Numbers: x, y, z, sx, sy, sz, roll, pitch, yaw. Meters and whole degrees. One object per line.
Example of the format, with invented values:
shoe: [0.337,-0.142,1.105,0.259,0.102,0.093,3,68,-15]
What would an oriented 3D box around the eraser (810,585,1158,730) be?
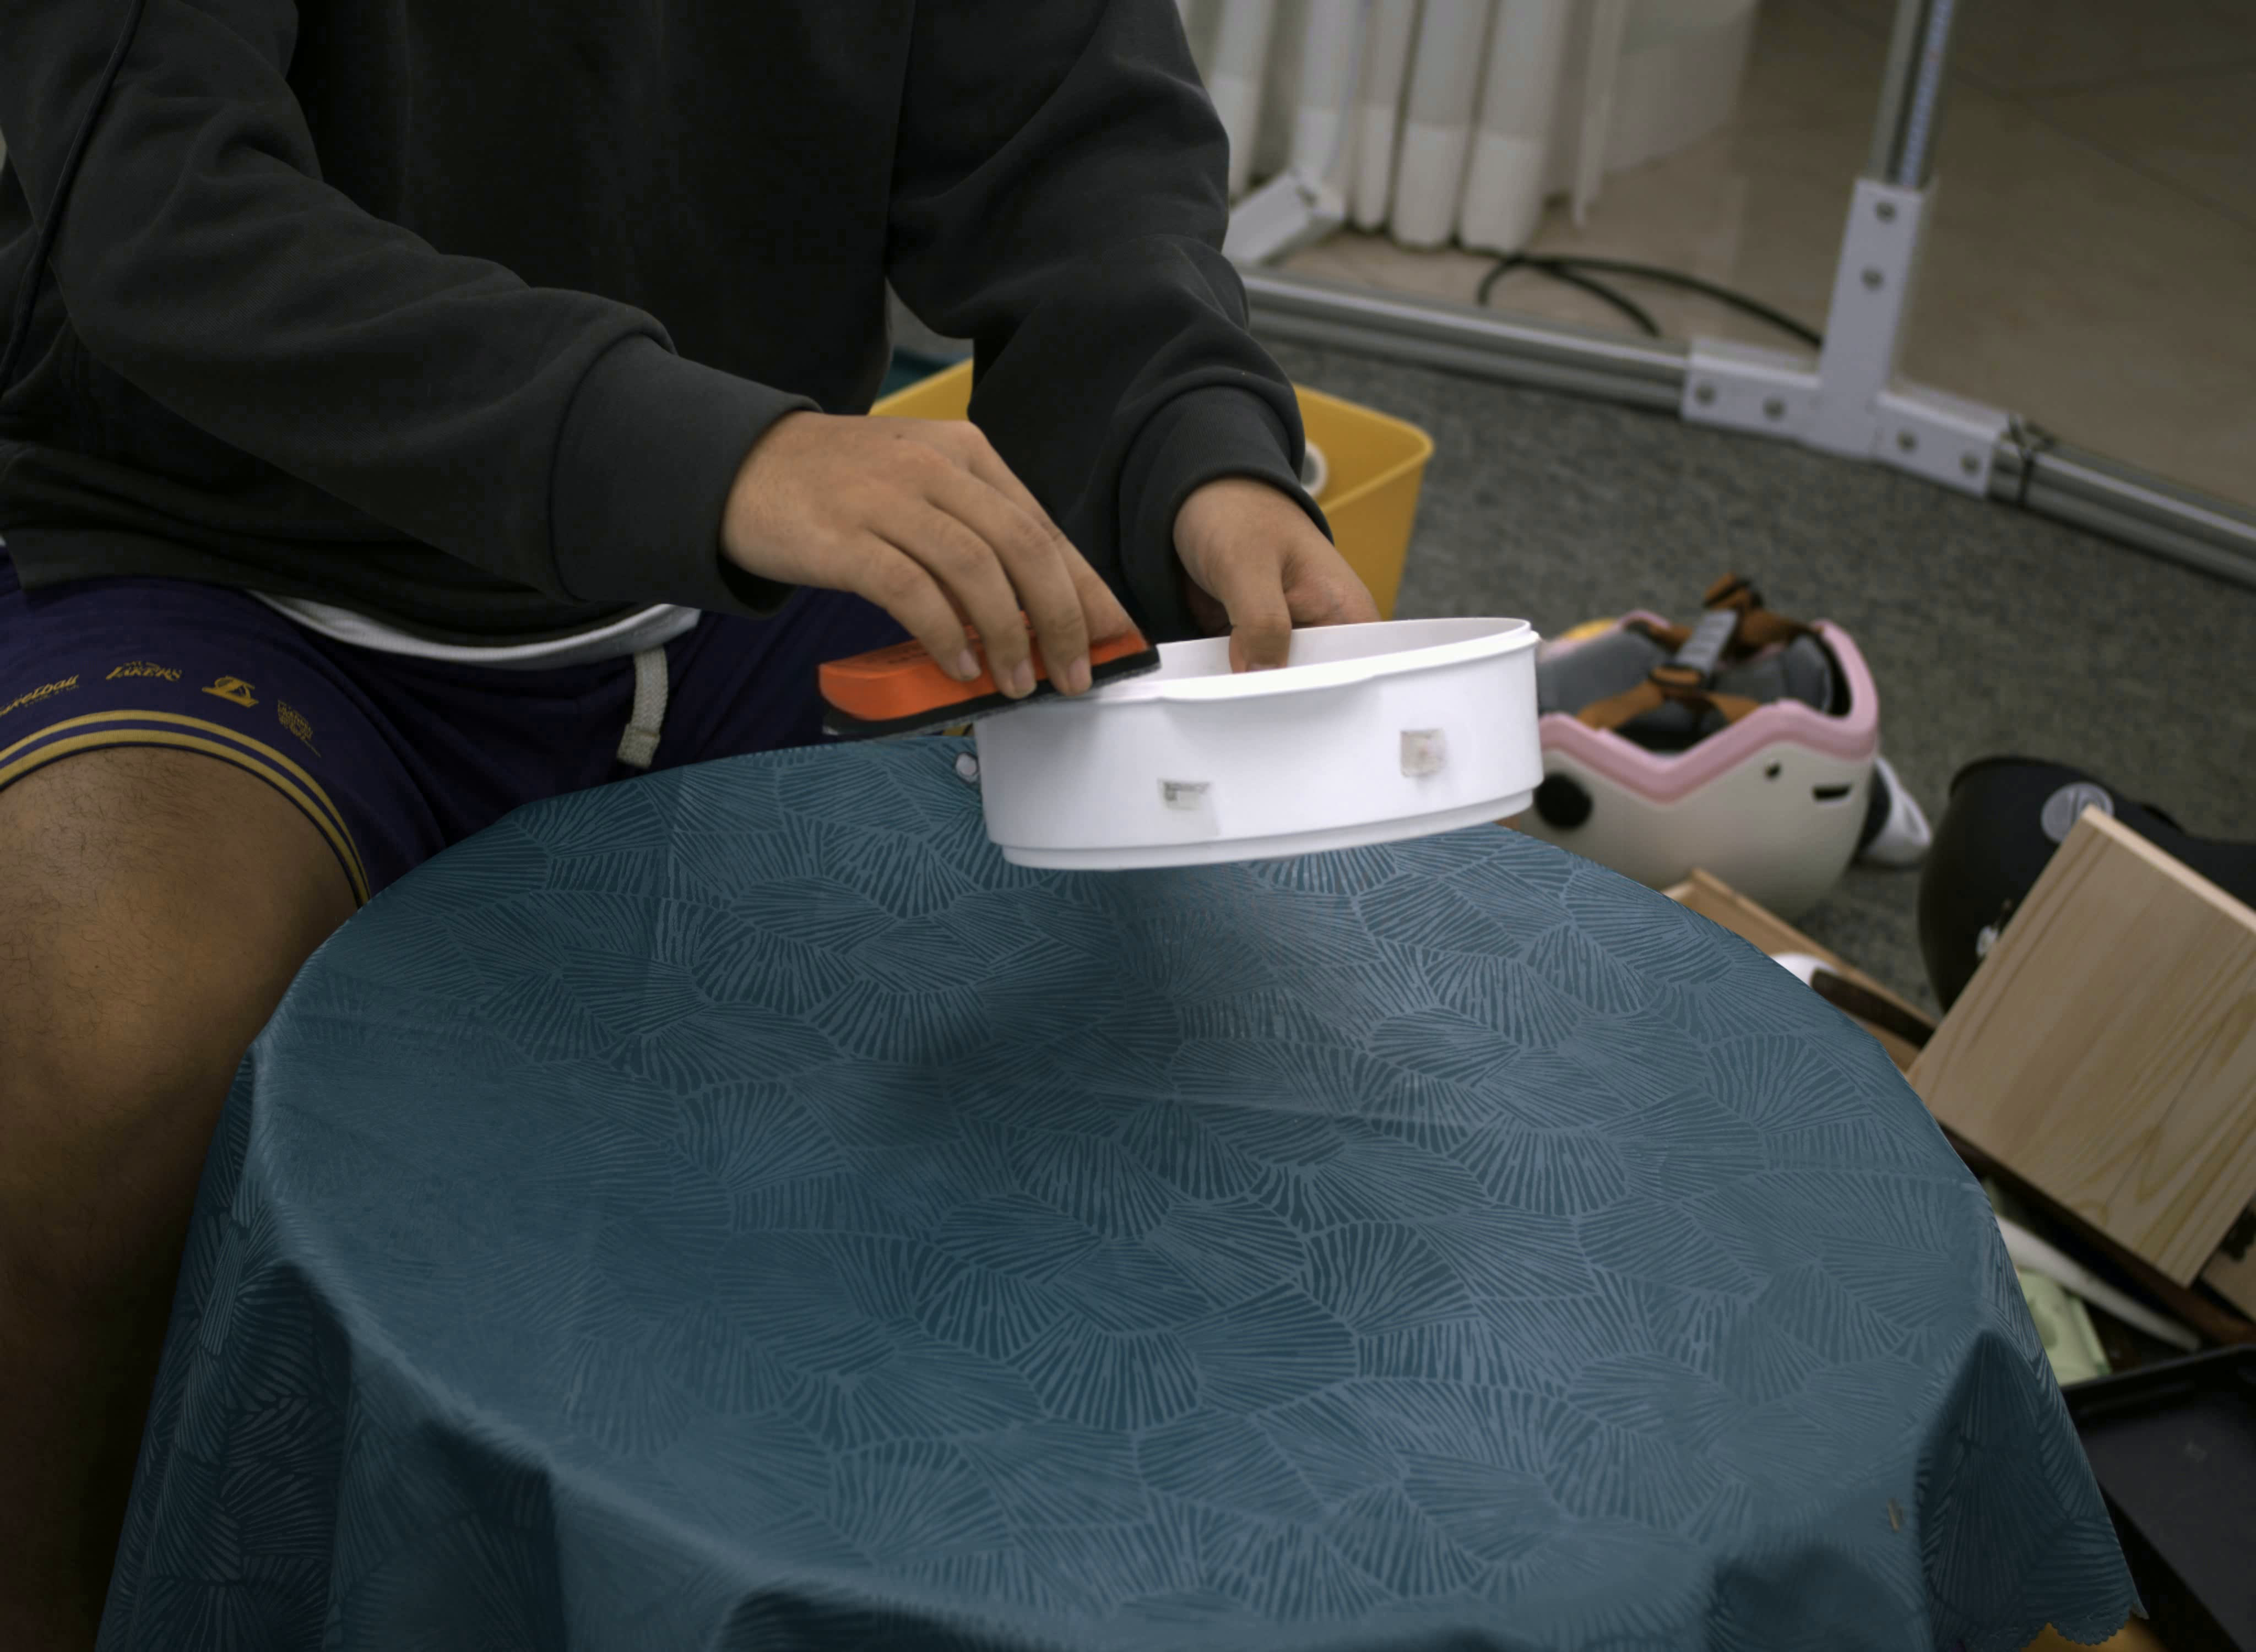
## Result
eraser: [-0.048,-0.056,1.764,0.107,0.023,0.059,-17,6,-26]

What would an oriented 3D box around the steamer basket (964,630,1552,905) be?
steamer basket: [0.047,-0.019,1.834,0.201,0.069,0.230,-10,2,-2]
